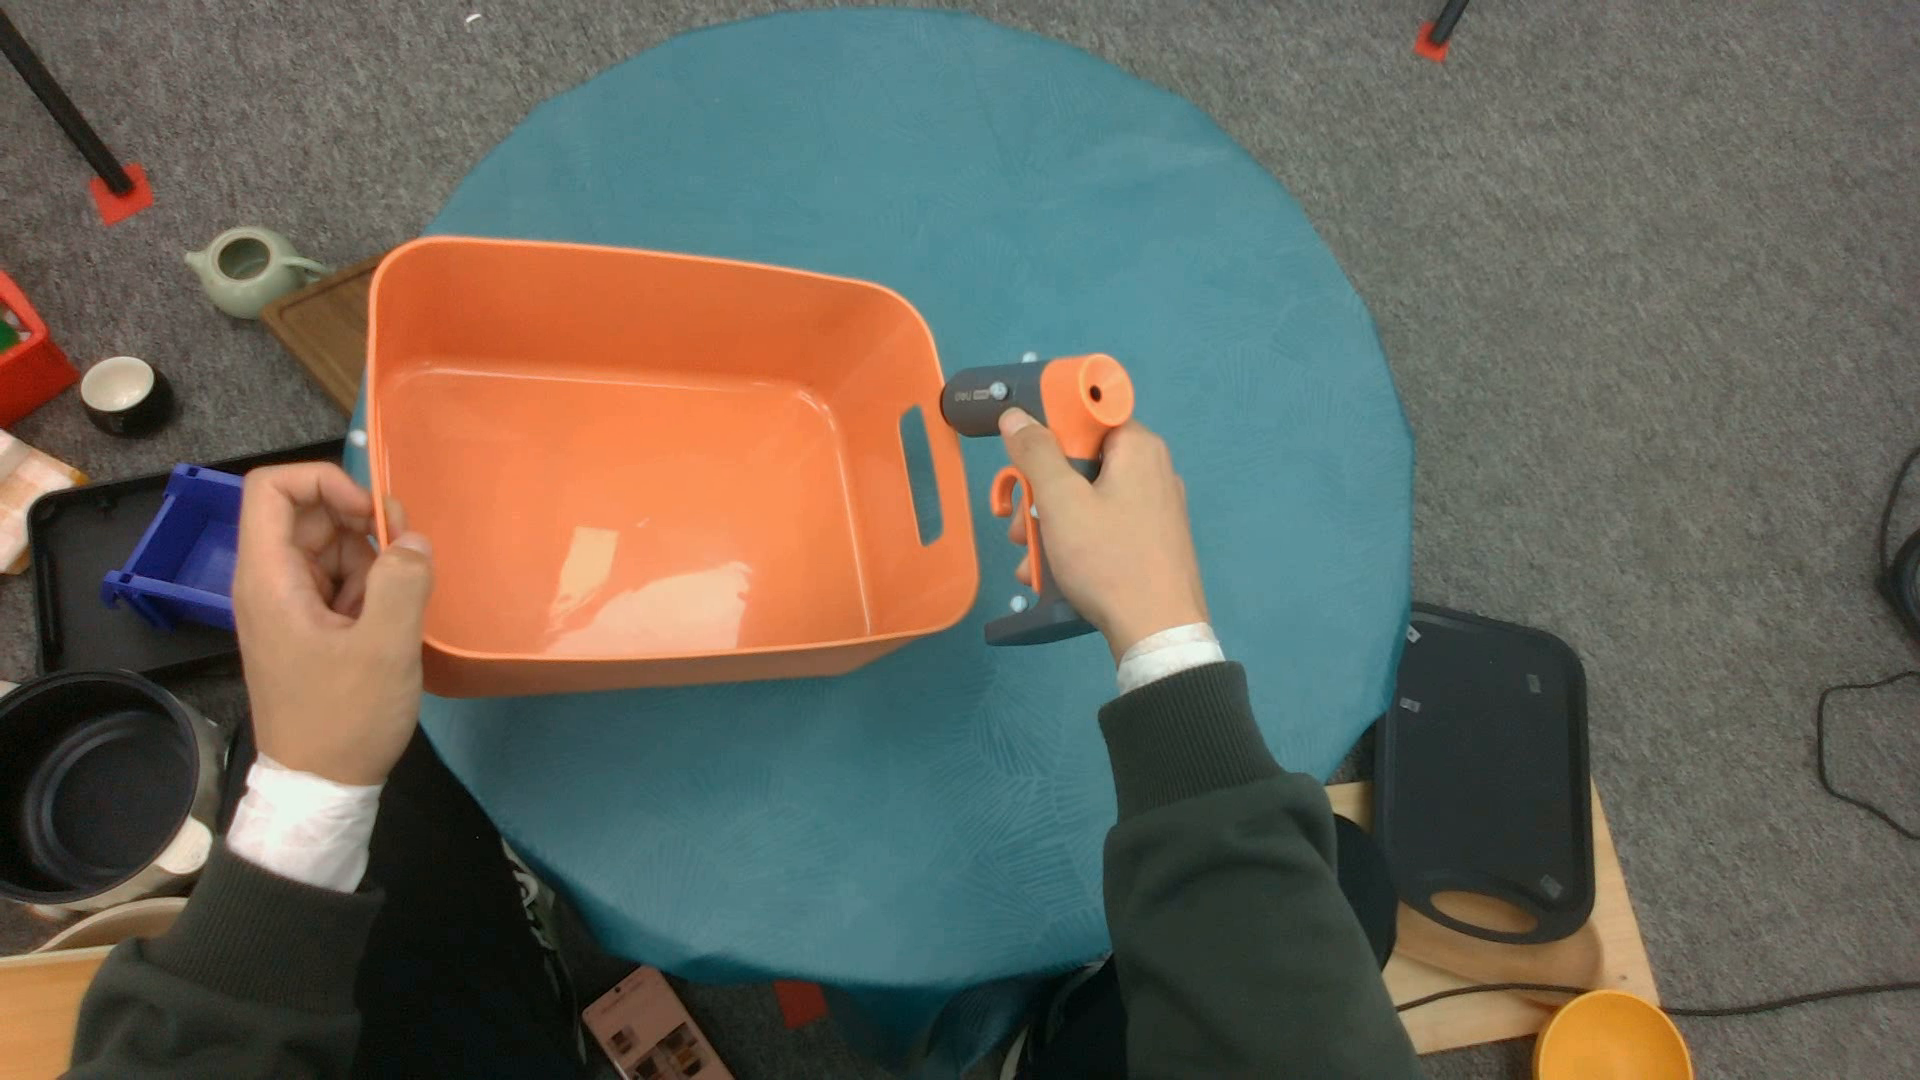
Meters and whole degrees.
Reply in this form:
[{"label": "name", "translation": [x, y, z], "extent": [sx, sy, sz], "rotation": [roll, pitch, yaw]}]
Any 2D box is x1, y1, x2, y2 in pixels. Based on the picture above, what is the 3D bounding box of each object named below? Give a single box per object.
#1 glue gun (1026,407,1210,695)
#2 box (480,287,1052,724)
[{"label": "glue gun", "translation": [0.072, -0.001, 0.652], "extent": [0.041, 0.117, 0.140], "rotation": [6, 72, -31]}, {"label": "box", "translation": [-0.101, -0.006, 0.683], "extent": [0.274, 0.102, 0.200], "rotation": [2, 67, -28]}]
